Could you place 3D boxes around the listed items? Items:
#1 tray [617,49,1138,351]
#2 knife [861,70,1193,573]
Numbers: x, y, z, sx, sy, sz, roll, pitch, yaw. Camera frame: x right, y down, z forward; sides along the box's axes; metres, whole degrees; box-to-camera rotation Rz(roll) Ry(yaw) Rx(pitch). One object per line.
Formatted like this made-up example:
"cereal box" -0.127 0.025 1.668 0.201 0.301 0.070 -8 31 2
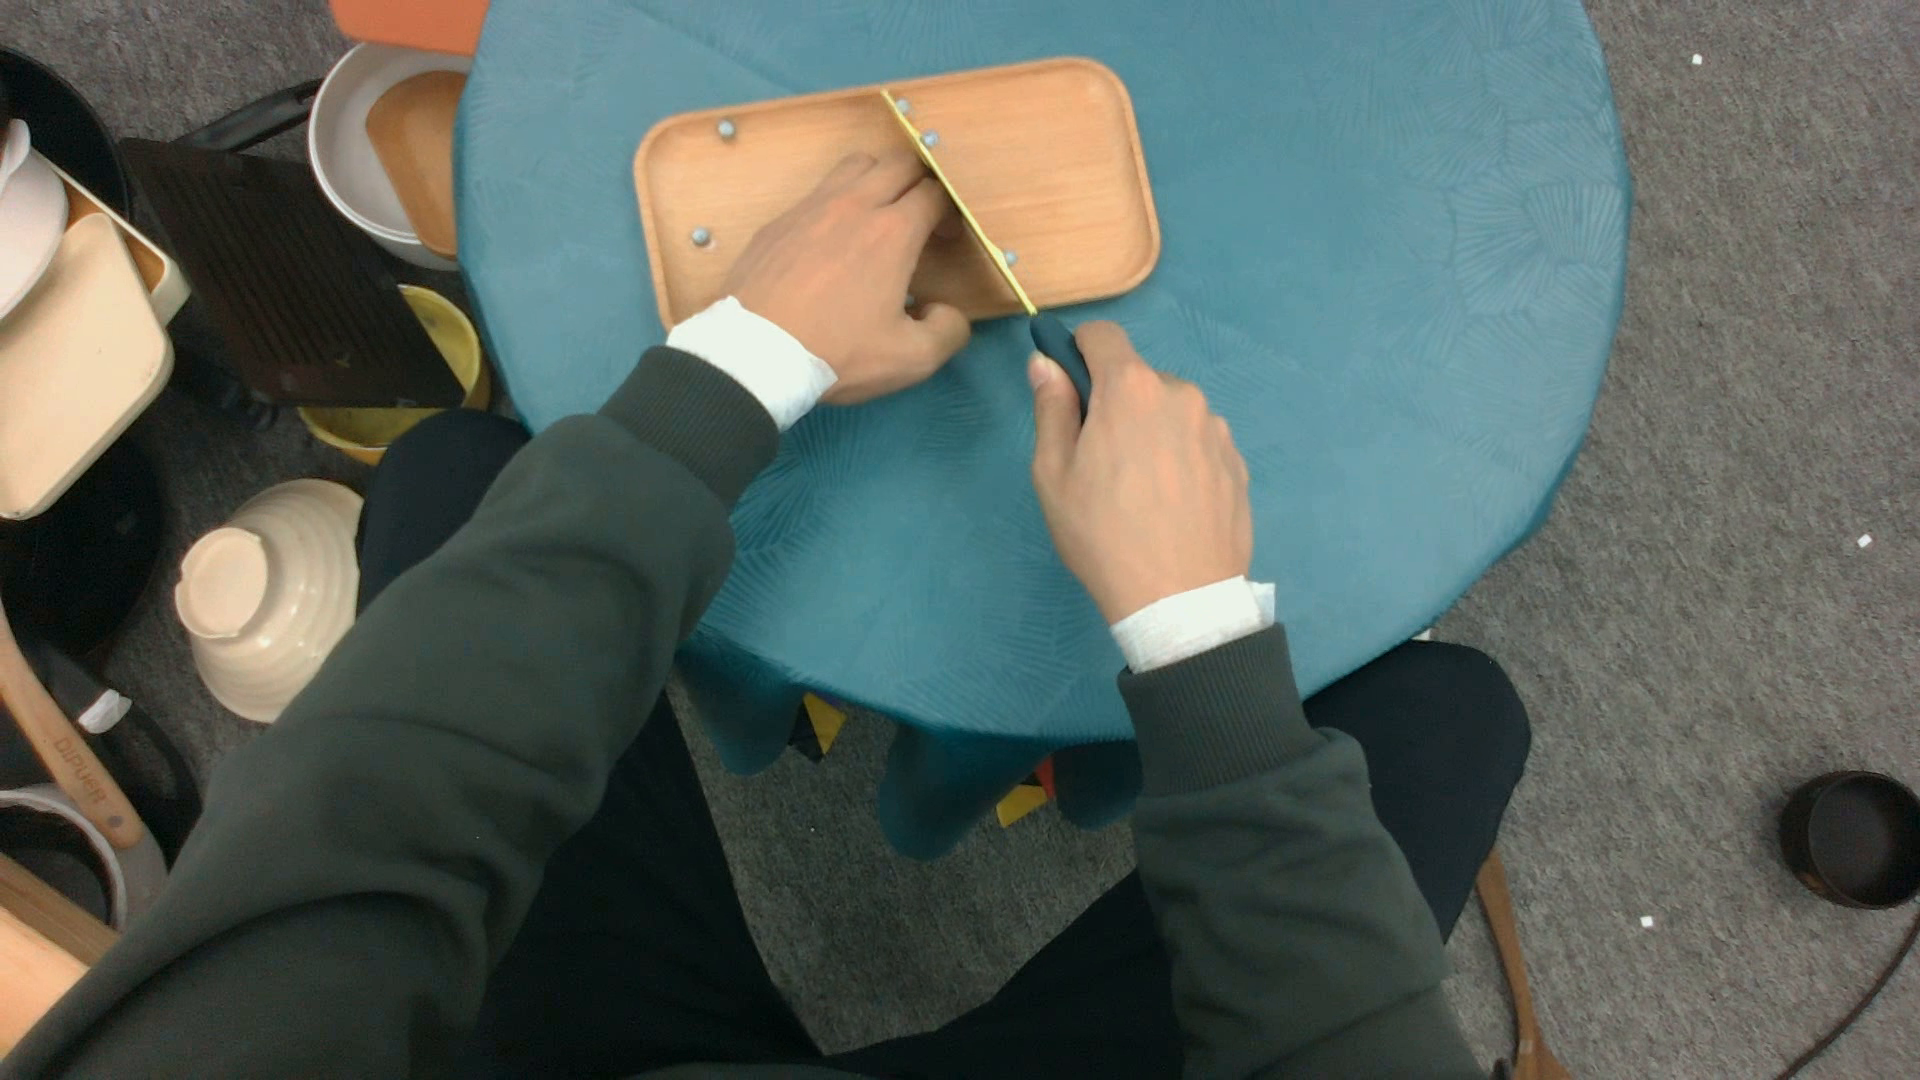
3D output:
"tray" -0.039 -0.172 0.691 0.251 0.023 0.130 -10 84 -10
"knife" 0.024 -0.107 0.635 0.027 0.081 0.290 -33 75 8
